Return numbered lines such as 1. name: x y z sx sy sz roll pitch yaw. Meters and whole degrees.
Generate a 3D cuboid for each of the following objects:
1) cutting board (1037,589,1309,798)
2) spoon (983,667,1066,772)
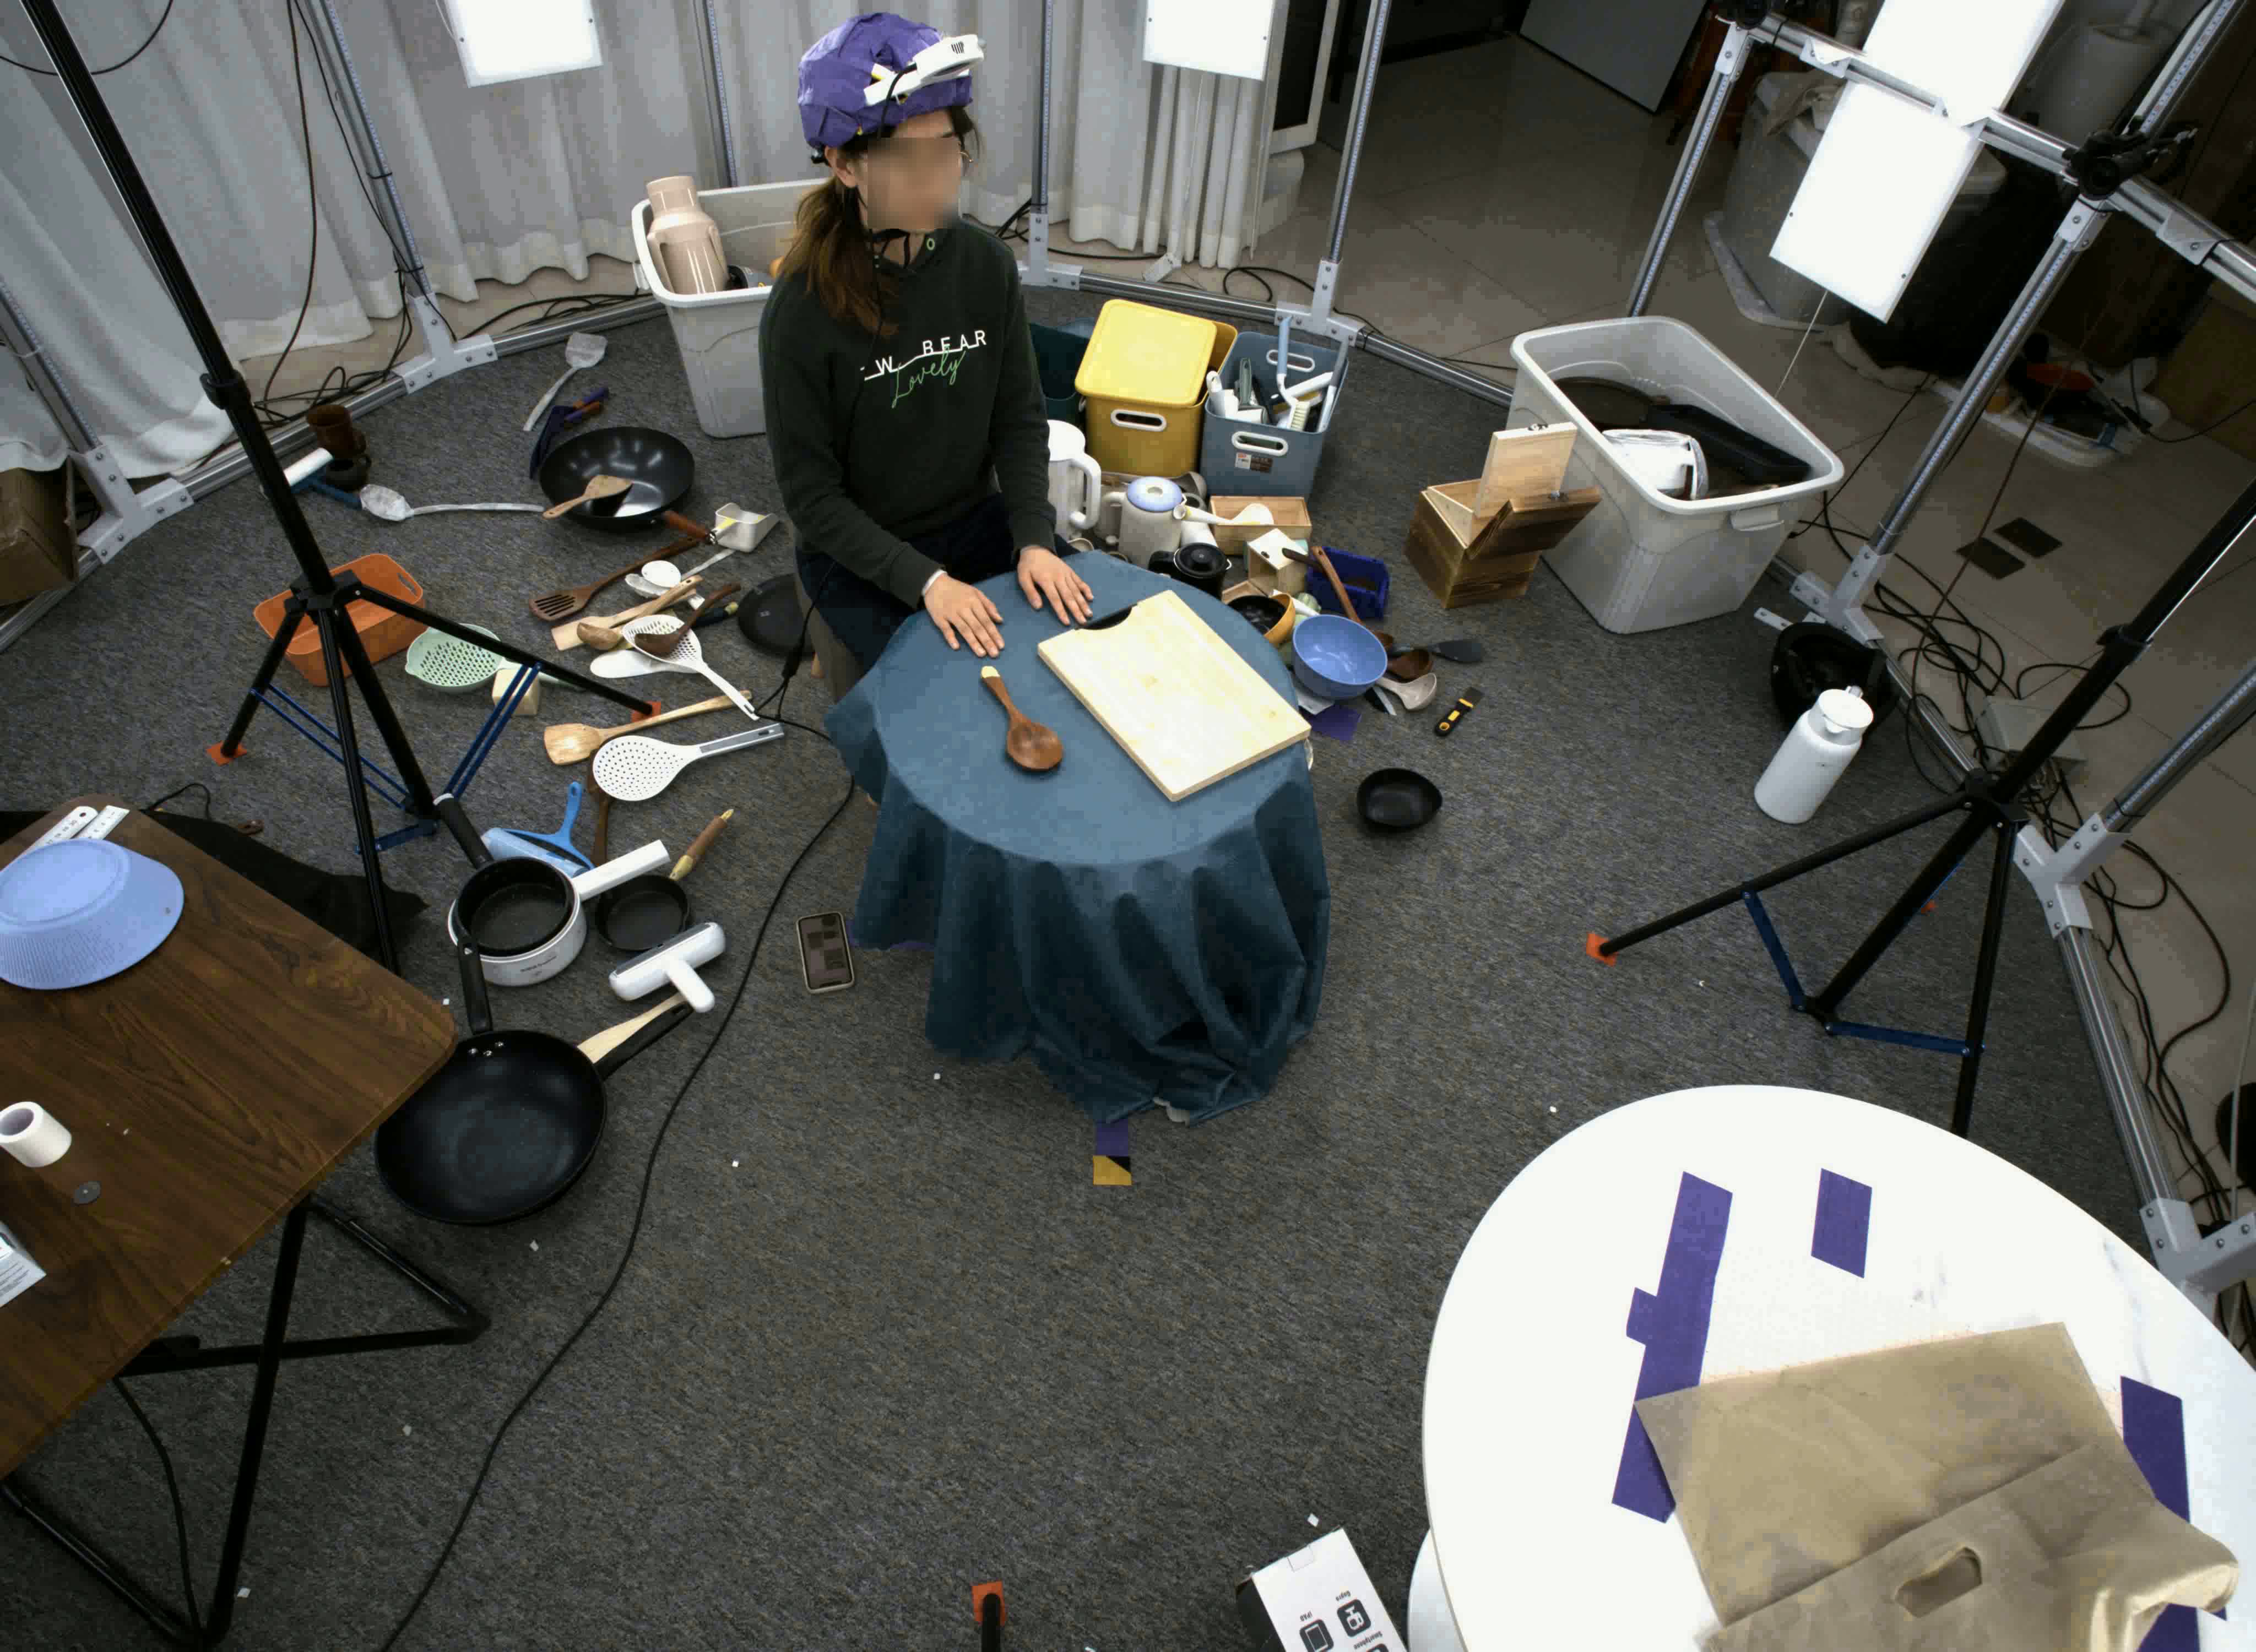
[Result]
1. cutting board: 0.060 -0.200 1.852 0.252 0.023 0.355 -26 55 -25
2. spoon: -0.153 -0.150 1.793 0.075 0.017 0.221 -19 53 -17
